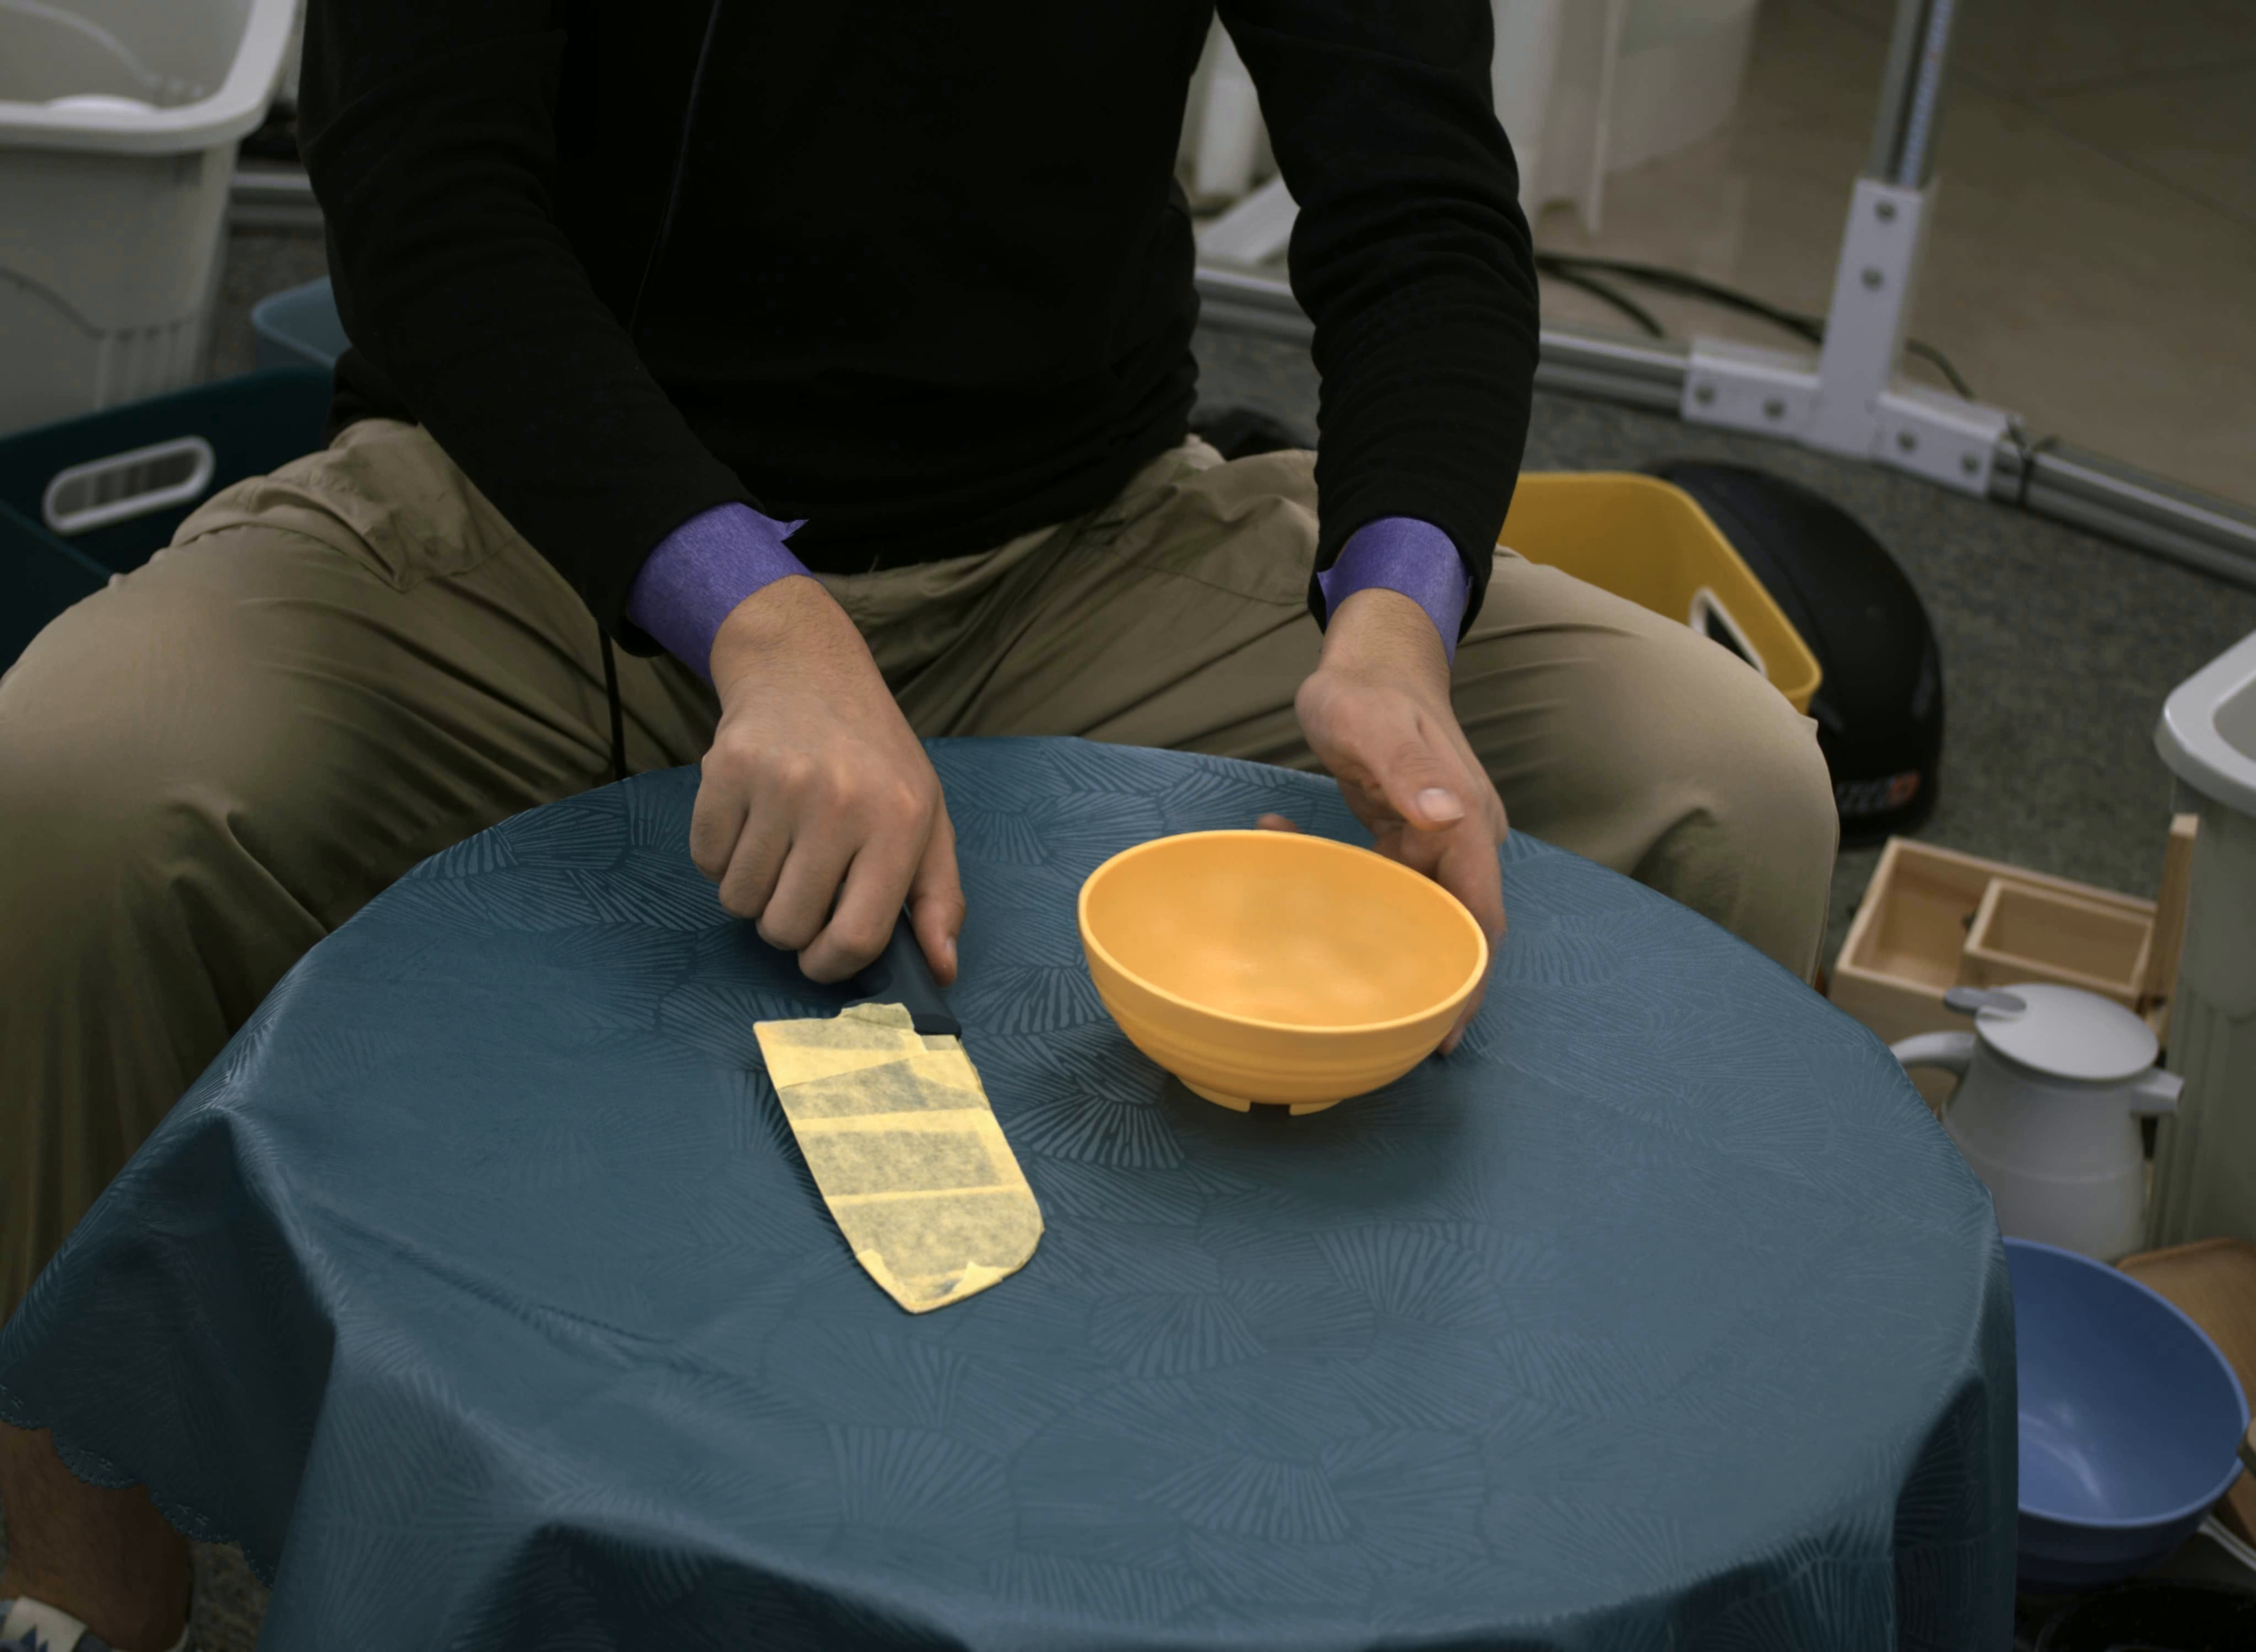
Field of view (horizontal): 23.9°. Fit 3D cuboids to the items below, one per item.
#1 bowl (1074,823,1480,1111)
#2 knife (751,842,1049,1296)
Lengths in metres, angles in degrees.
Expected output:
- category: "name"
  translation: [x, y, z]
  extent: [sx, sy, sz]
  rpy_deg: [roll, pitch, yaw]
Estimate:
- category: "bowl"
  translation: [0.048, 0.059, 1.878]
  extent: [0.145, 0.060, 0.146]
  rpy_deg: [7, 27, -4]
- category: "knife"
  translation: [-0.089, 0.083, 1.850]
  extent: [0.080, 0.027, 0.292]
  rpy_deg: [2, 28, -17]
